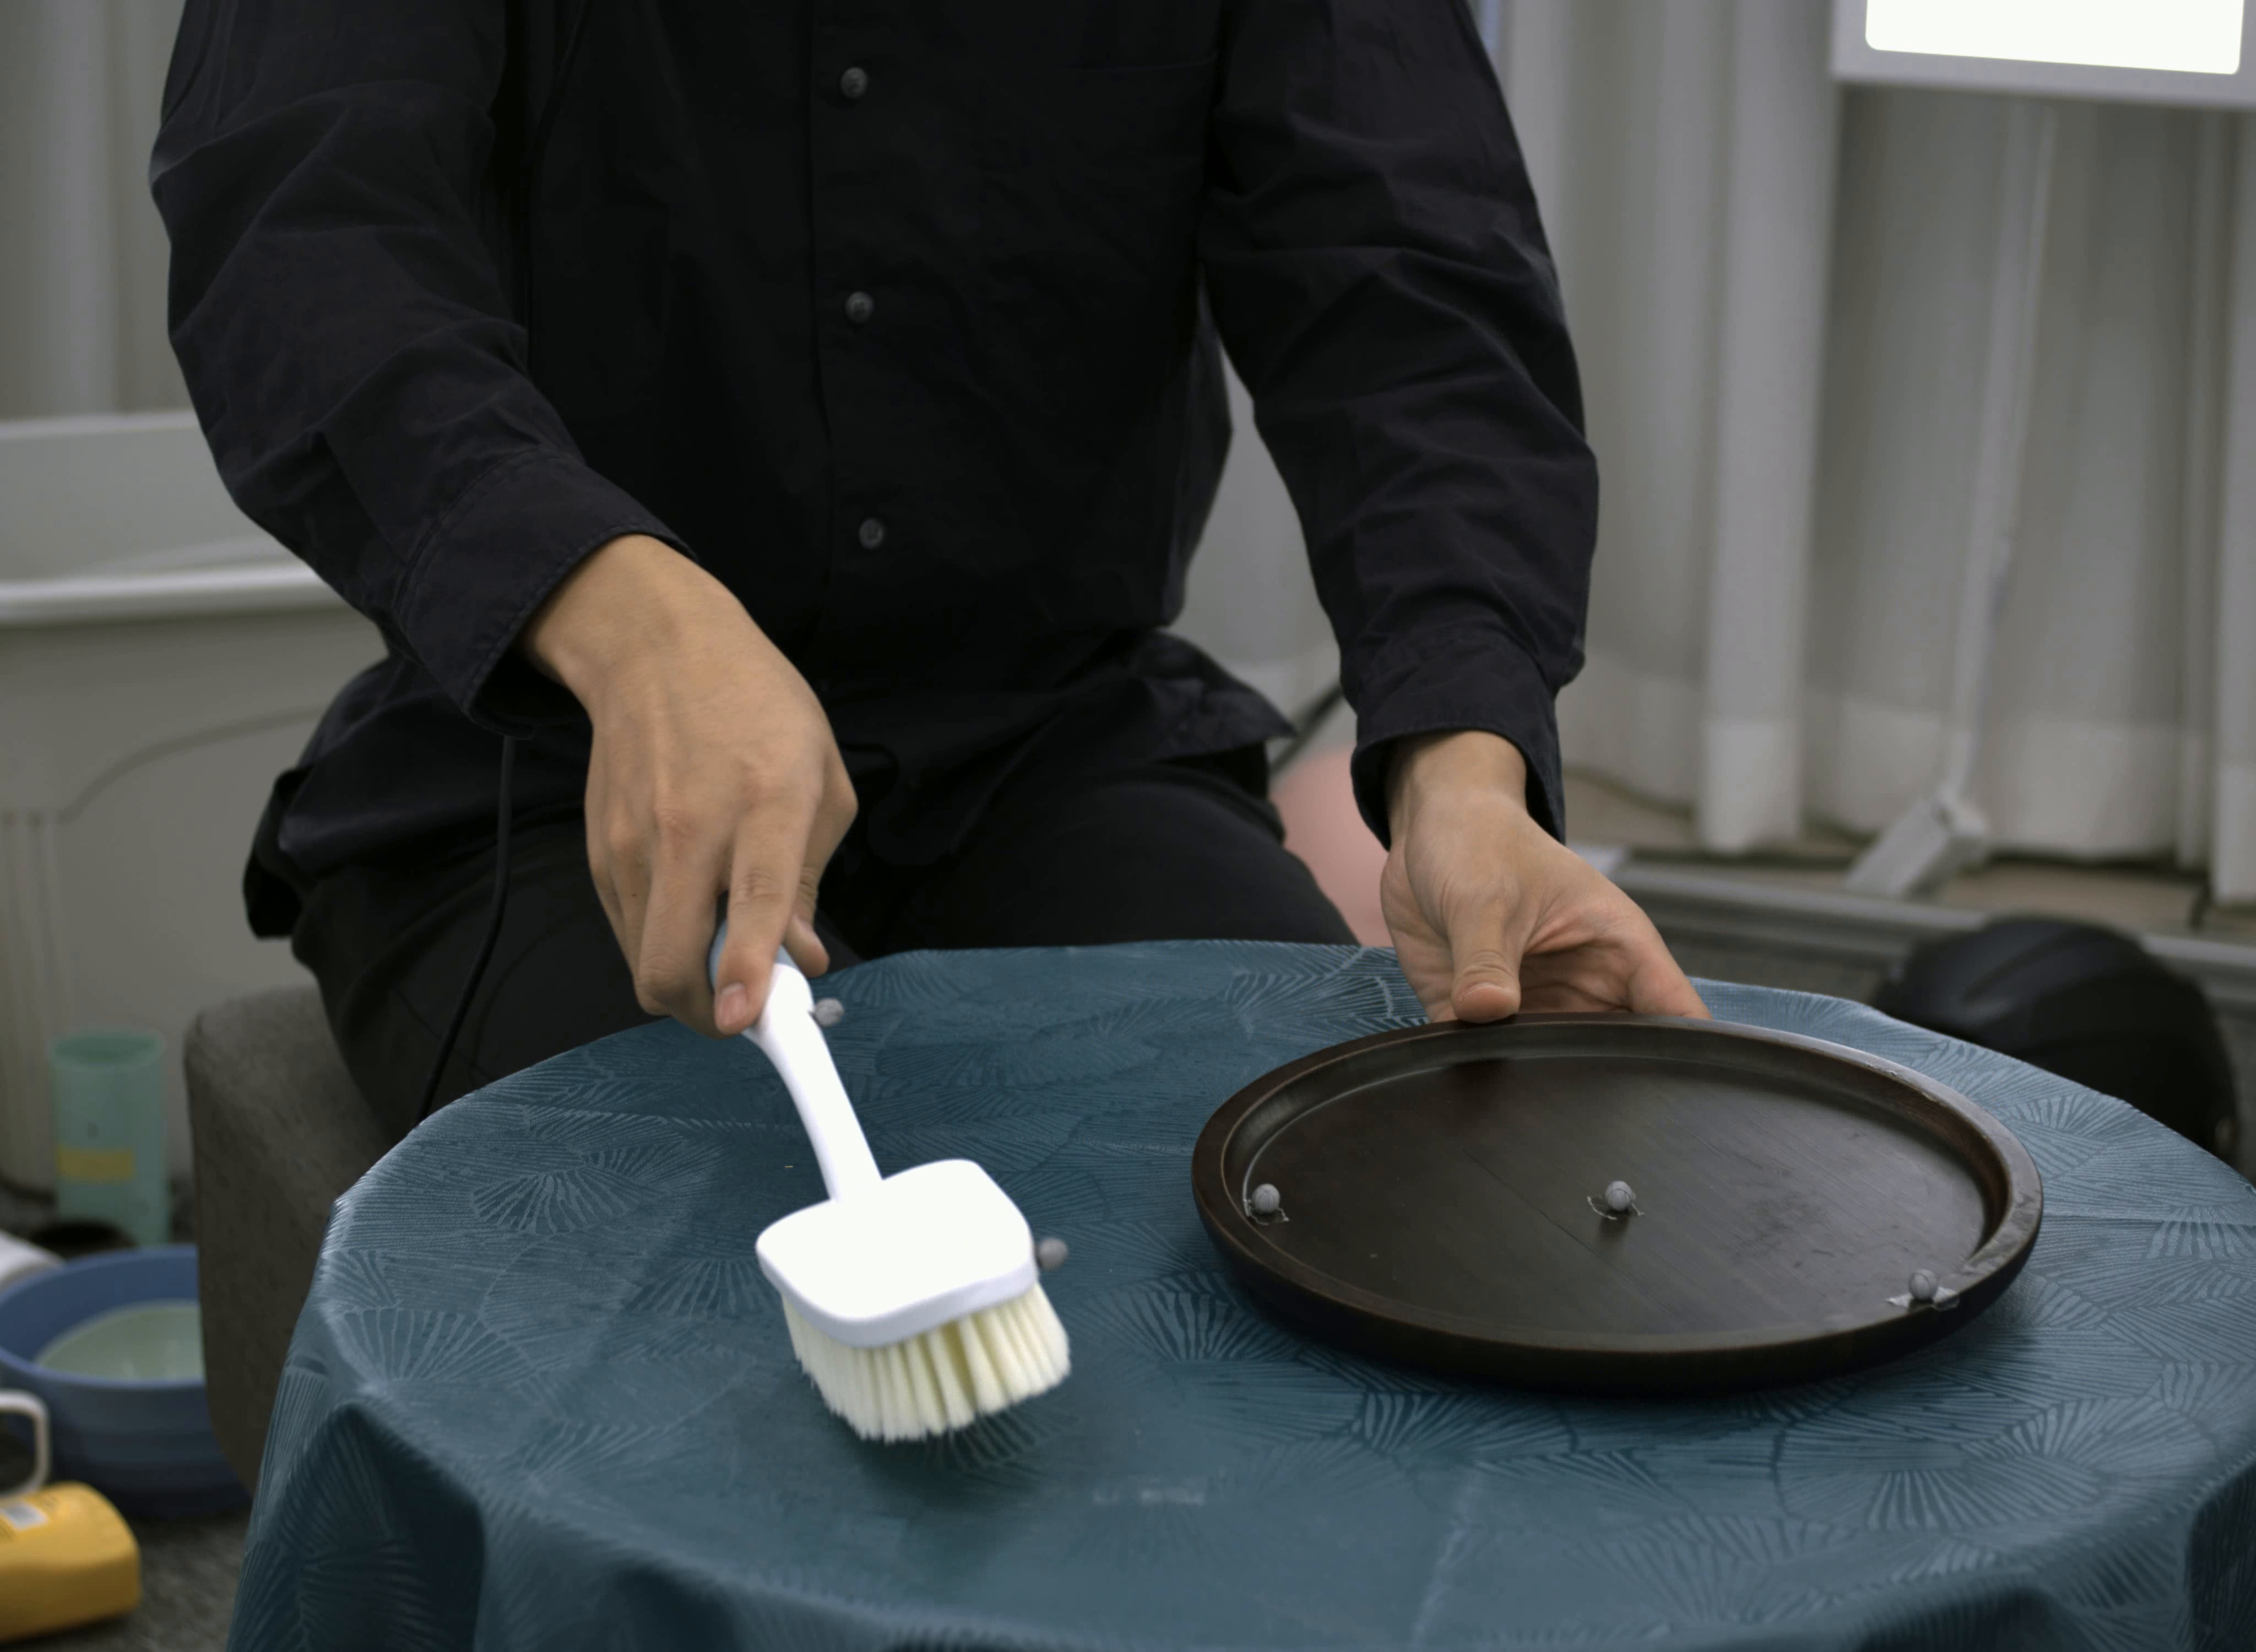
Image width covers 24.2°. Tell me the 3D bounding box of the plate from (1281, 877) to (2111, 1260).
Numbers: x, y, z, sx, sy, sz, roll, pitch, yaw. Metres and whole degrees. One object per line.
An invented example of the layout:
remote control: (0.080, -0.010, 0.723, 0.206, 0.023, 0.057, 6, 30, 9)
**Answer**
plate: (0.173, 0.073, 1.610, 0.254, 0.029, 0.253, -1, 21, 1)

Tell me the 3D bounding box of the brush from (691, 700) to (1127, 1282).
brush: (-0.067, 0.057, 1.550, 0.083, 0.085, 0.321, 16, 16, -25)
